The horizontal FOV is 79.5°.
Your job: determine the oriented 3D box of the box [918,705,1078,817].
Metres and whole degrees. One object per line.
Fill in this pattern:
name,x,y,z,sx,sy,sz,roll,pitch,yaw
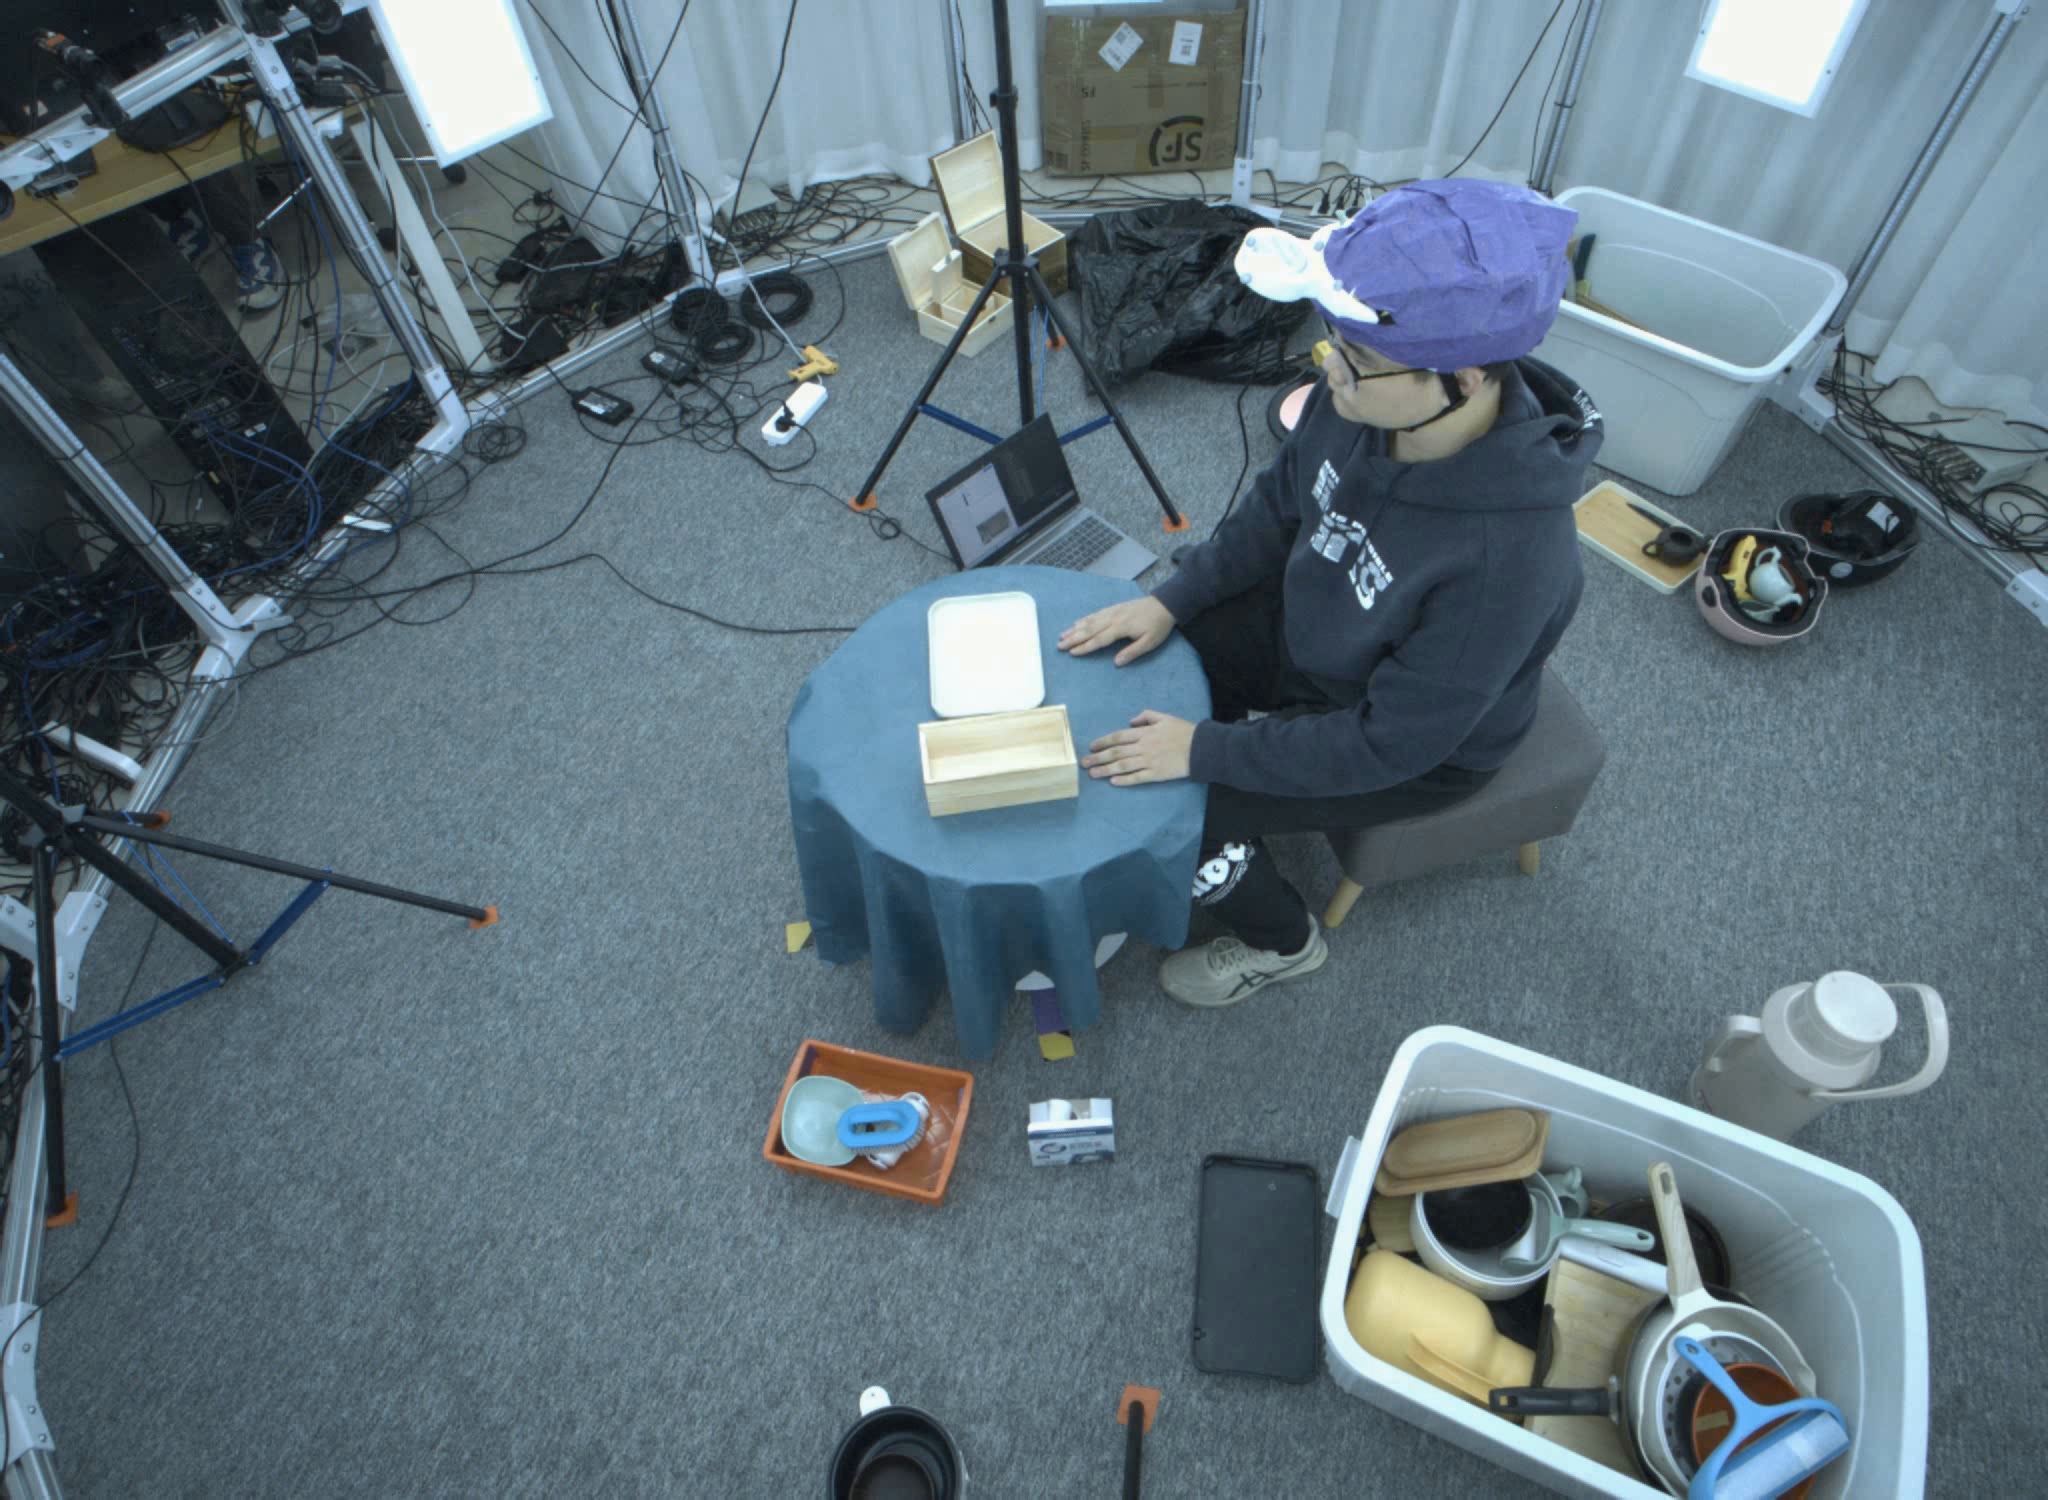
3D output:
box,-0.036,0.015,1.729,0.212,0.081,0.106,-8,55,-4

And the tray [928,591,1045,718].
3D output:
tray,-0.060,-0.146,1.882,0.171,0.017,0.236,-4,55,-2
